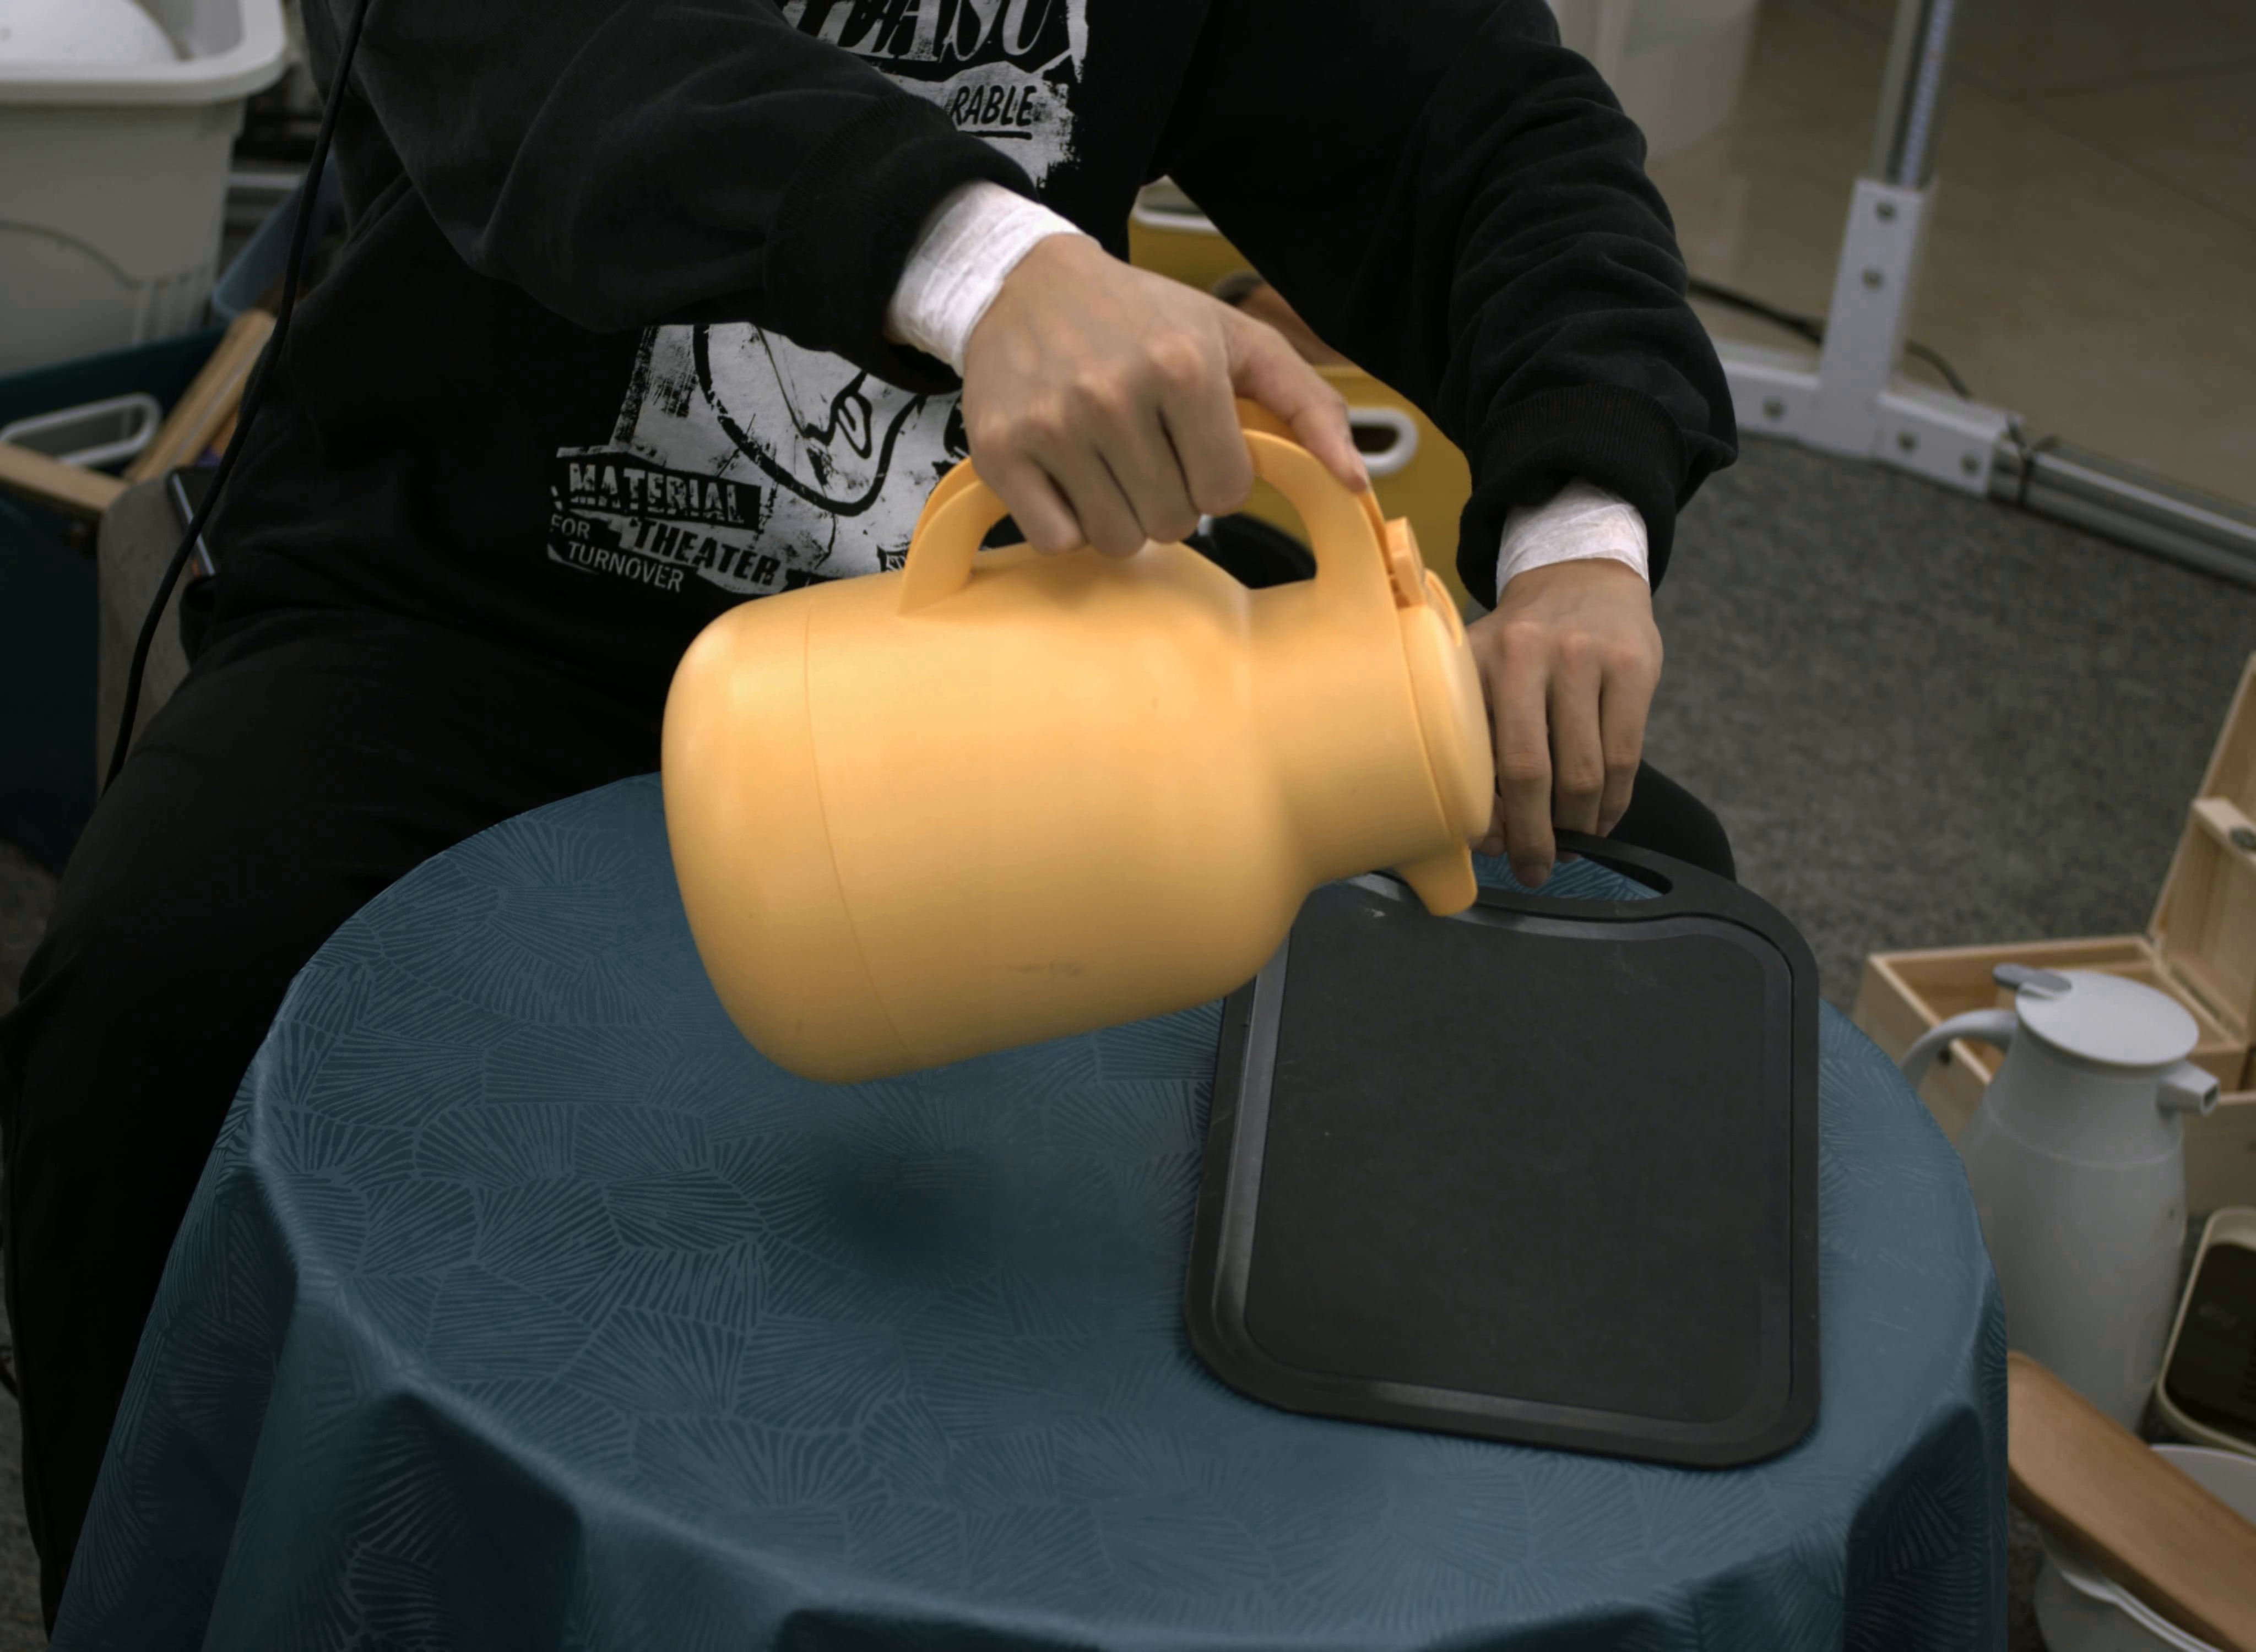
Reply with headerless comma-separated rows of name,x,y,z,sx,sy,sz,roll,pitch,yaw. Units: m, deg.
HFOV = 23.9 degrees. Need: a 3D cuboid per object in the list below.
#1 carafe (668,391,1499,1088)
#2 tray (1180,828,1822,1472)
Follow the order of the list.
carafe,-0.016,-0.033,1.723,0.260,0.201,0.164,-13,24,7
tray,0.132,0.098,1.818,0.210,0.010,0.327,8,37,2
